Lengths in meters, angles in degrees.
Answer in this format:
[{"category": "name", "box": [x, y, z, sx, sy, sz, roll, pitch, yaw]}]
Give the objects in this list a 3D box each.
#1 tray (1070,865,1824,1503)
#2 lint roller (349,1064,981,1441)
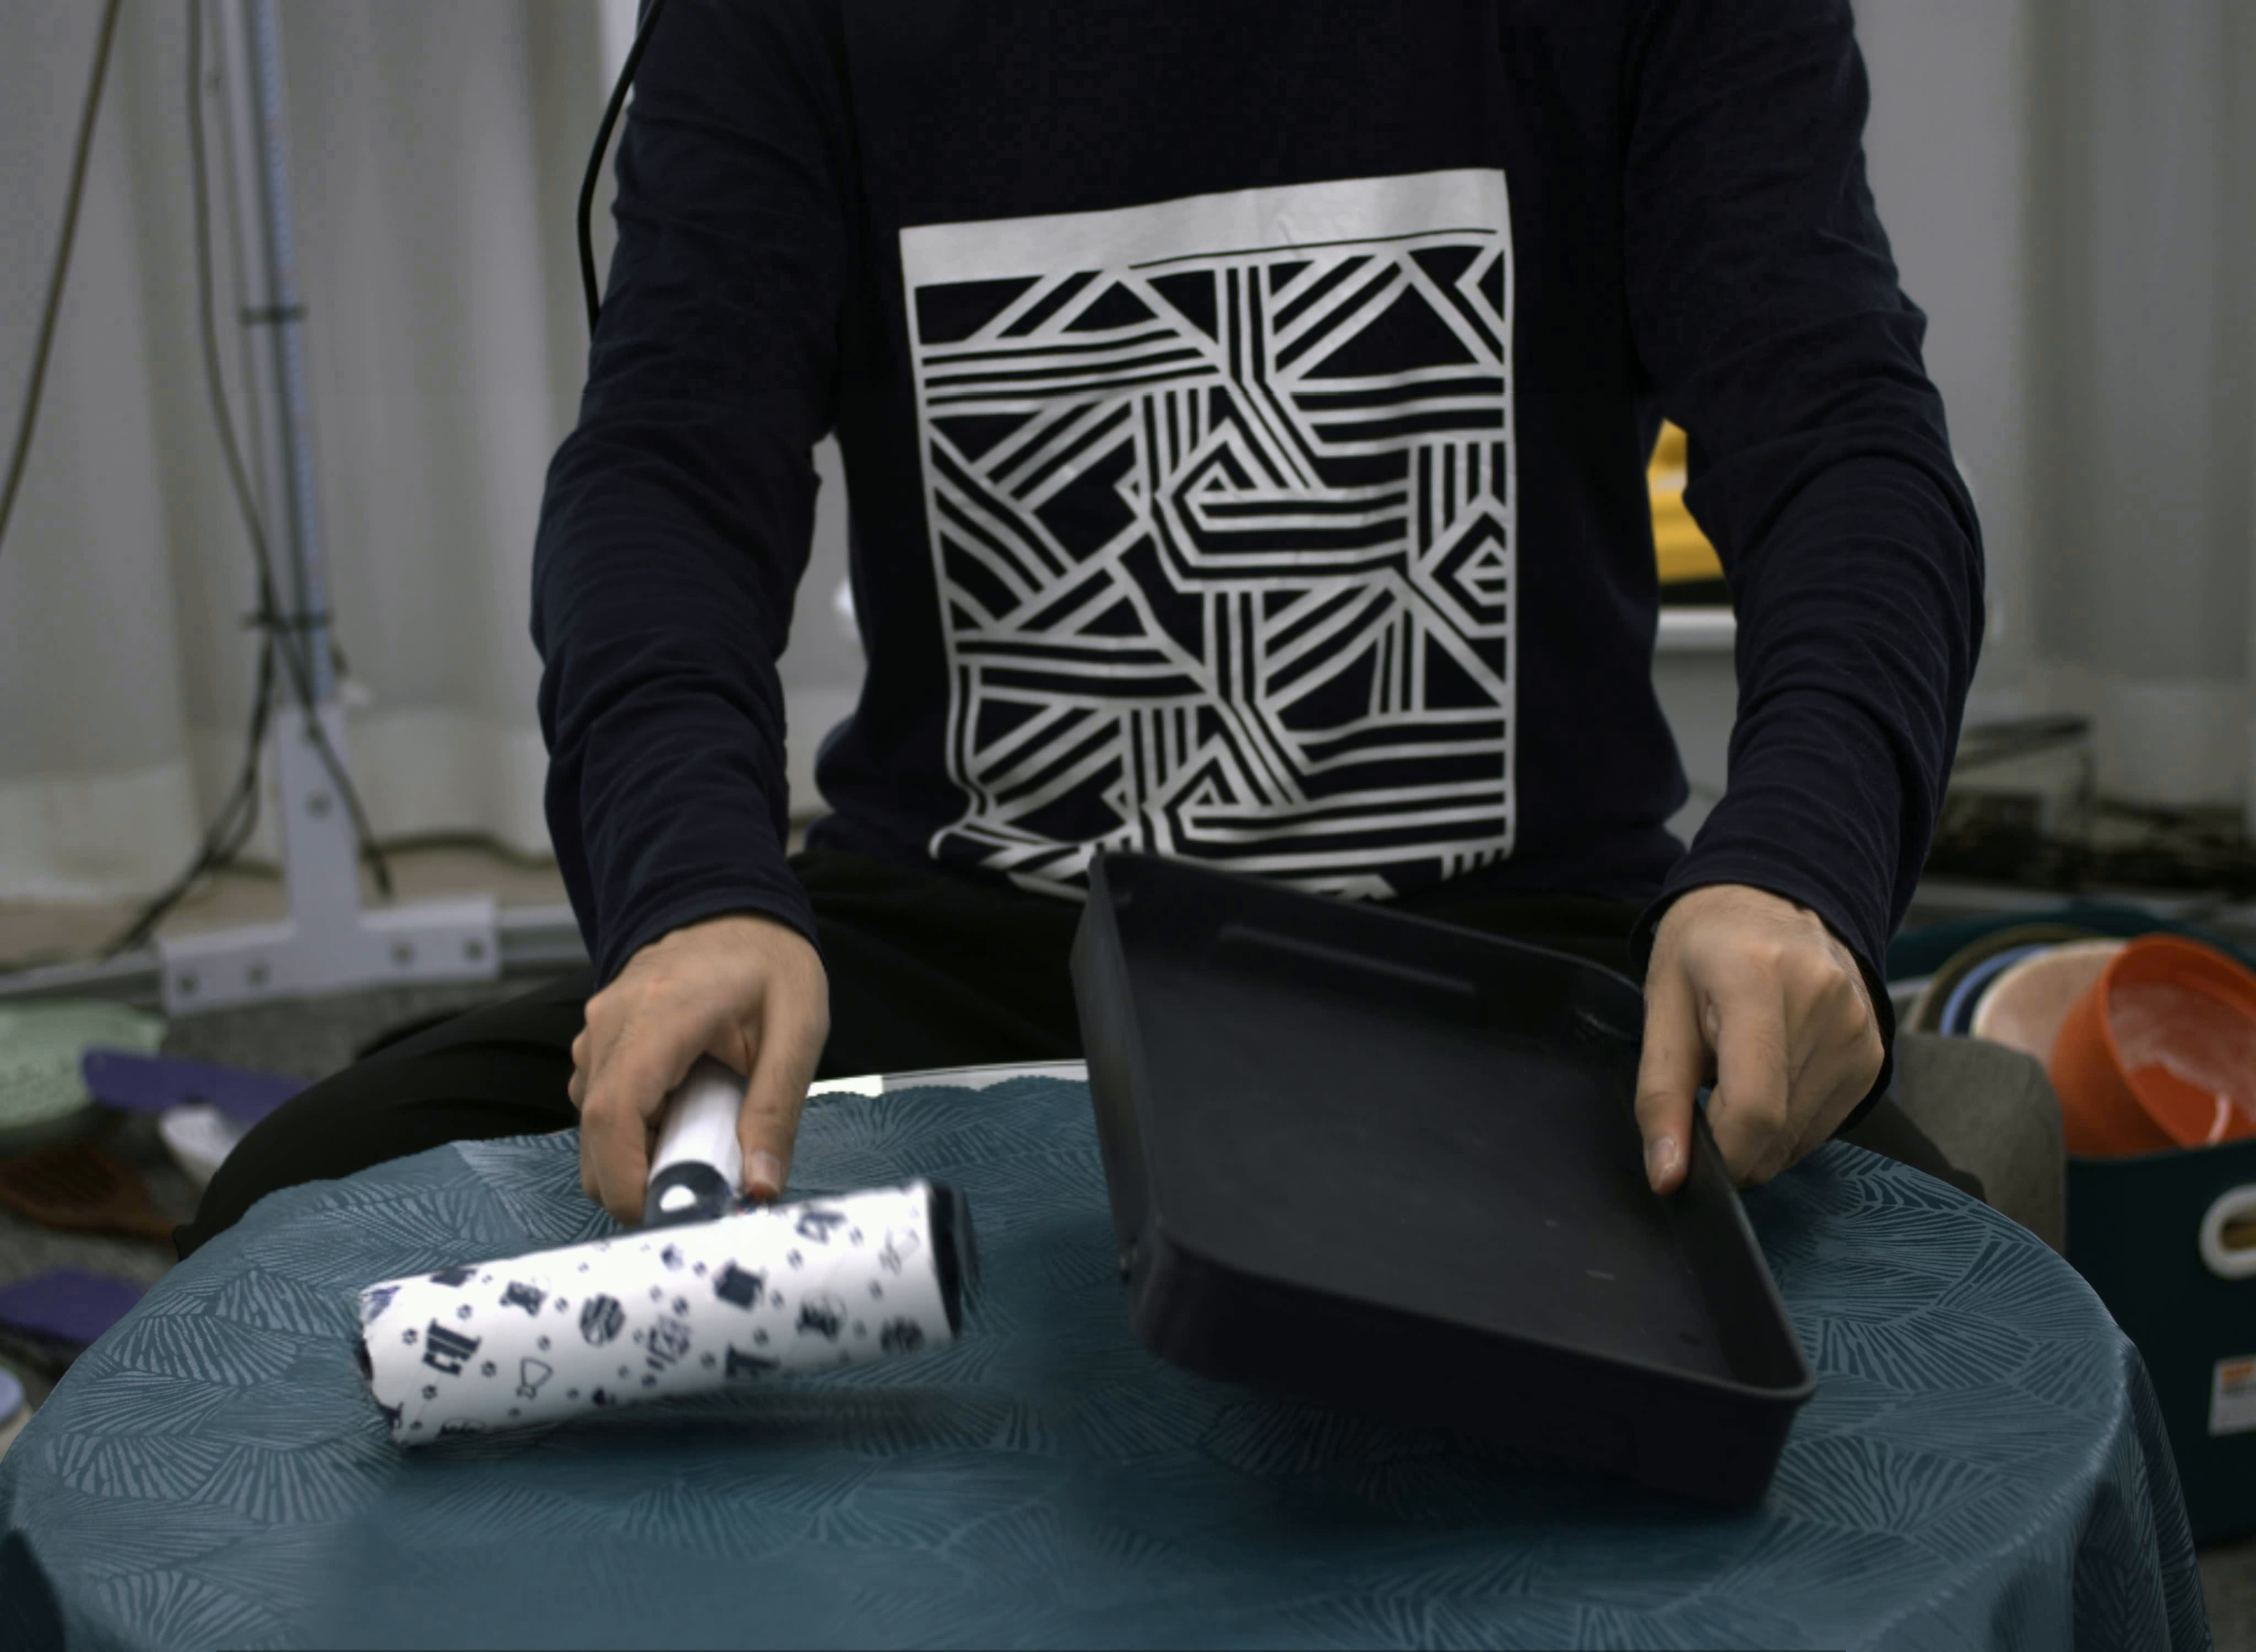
[{"category": "tray", "box": [0.081, 0.095, 1.557, 0.183, 0.037, 0.321, 13, 17, -8]}, {"category": "lint roller", "box": [-0.130, 0.110, 1.622, 0.176, 0.050, 0.249, -10, 16, 2]}]
